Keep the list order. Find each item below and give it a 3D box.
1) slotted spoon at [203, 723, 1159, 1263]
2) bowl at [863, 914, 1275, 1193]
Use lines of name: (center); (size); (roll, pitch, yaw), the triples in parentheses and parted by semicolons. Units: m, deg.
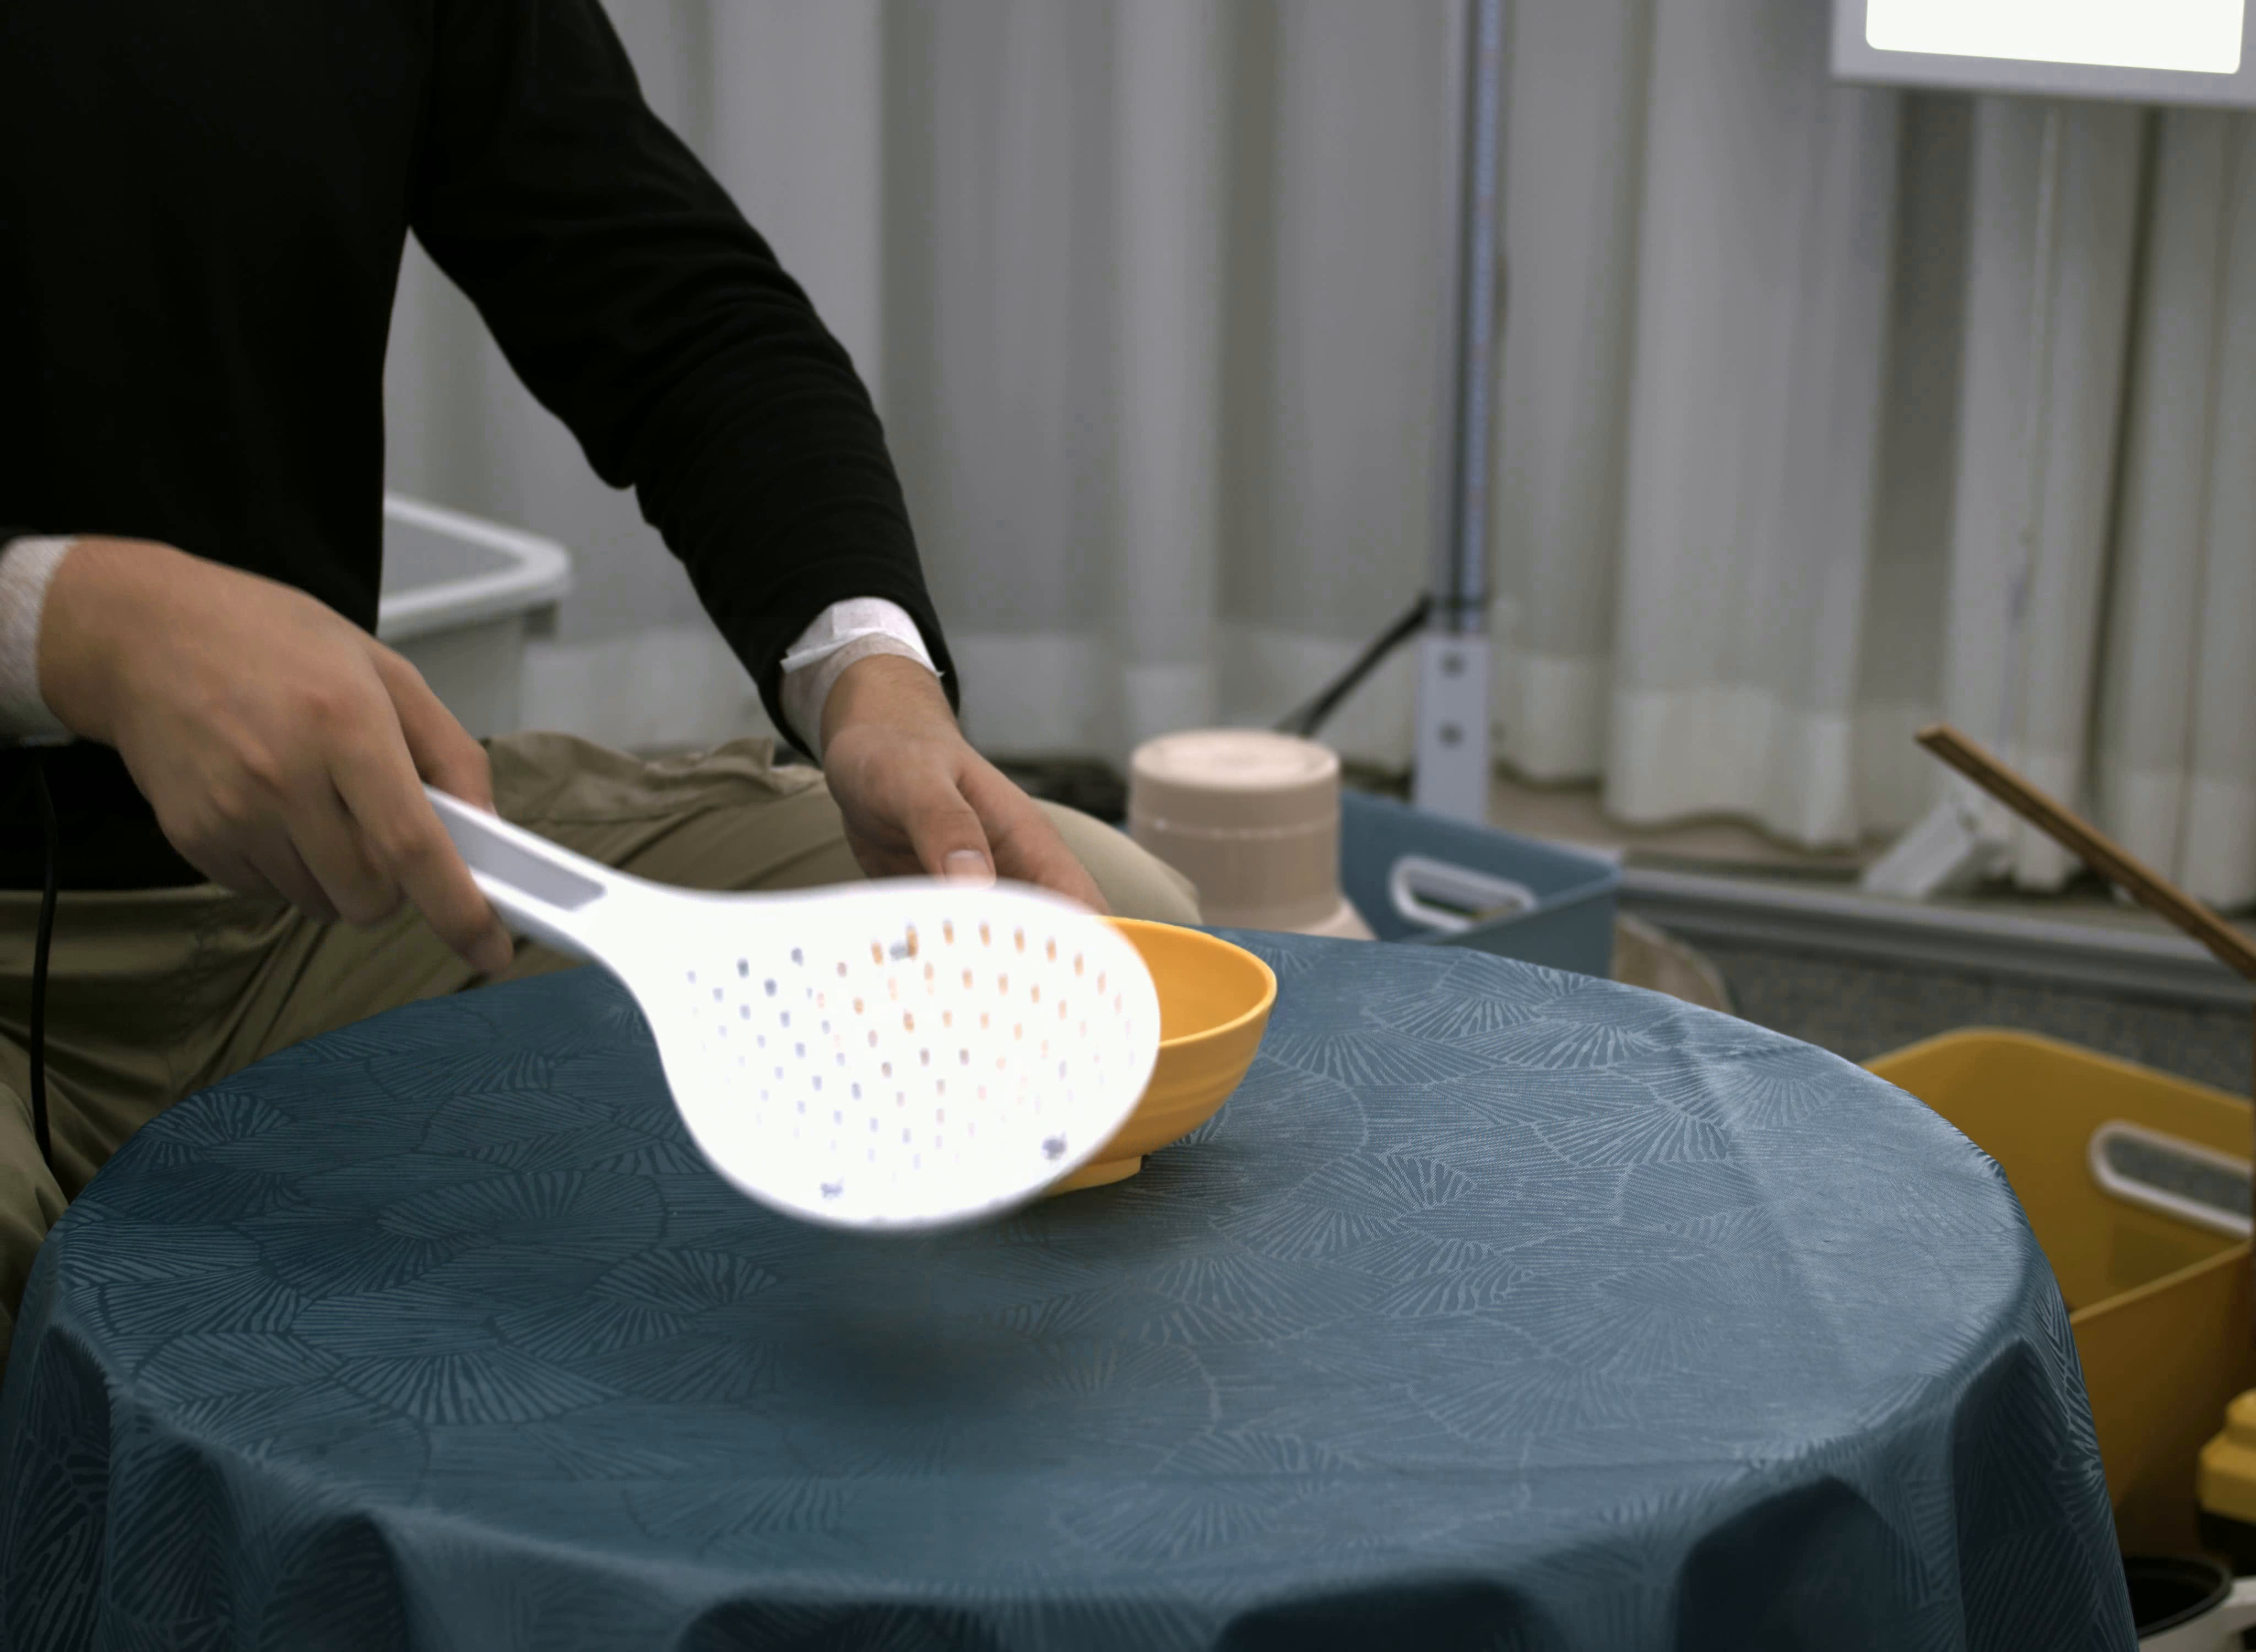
slotted spoon: (-0.141, 0.038, 1.524); (0.345, 0.046, 0.136); (27, 53, 28)
bowl: (-0.027, 0.077, 1.644); (0.145, 0.060, 0.144); (3, 16, 0)
